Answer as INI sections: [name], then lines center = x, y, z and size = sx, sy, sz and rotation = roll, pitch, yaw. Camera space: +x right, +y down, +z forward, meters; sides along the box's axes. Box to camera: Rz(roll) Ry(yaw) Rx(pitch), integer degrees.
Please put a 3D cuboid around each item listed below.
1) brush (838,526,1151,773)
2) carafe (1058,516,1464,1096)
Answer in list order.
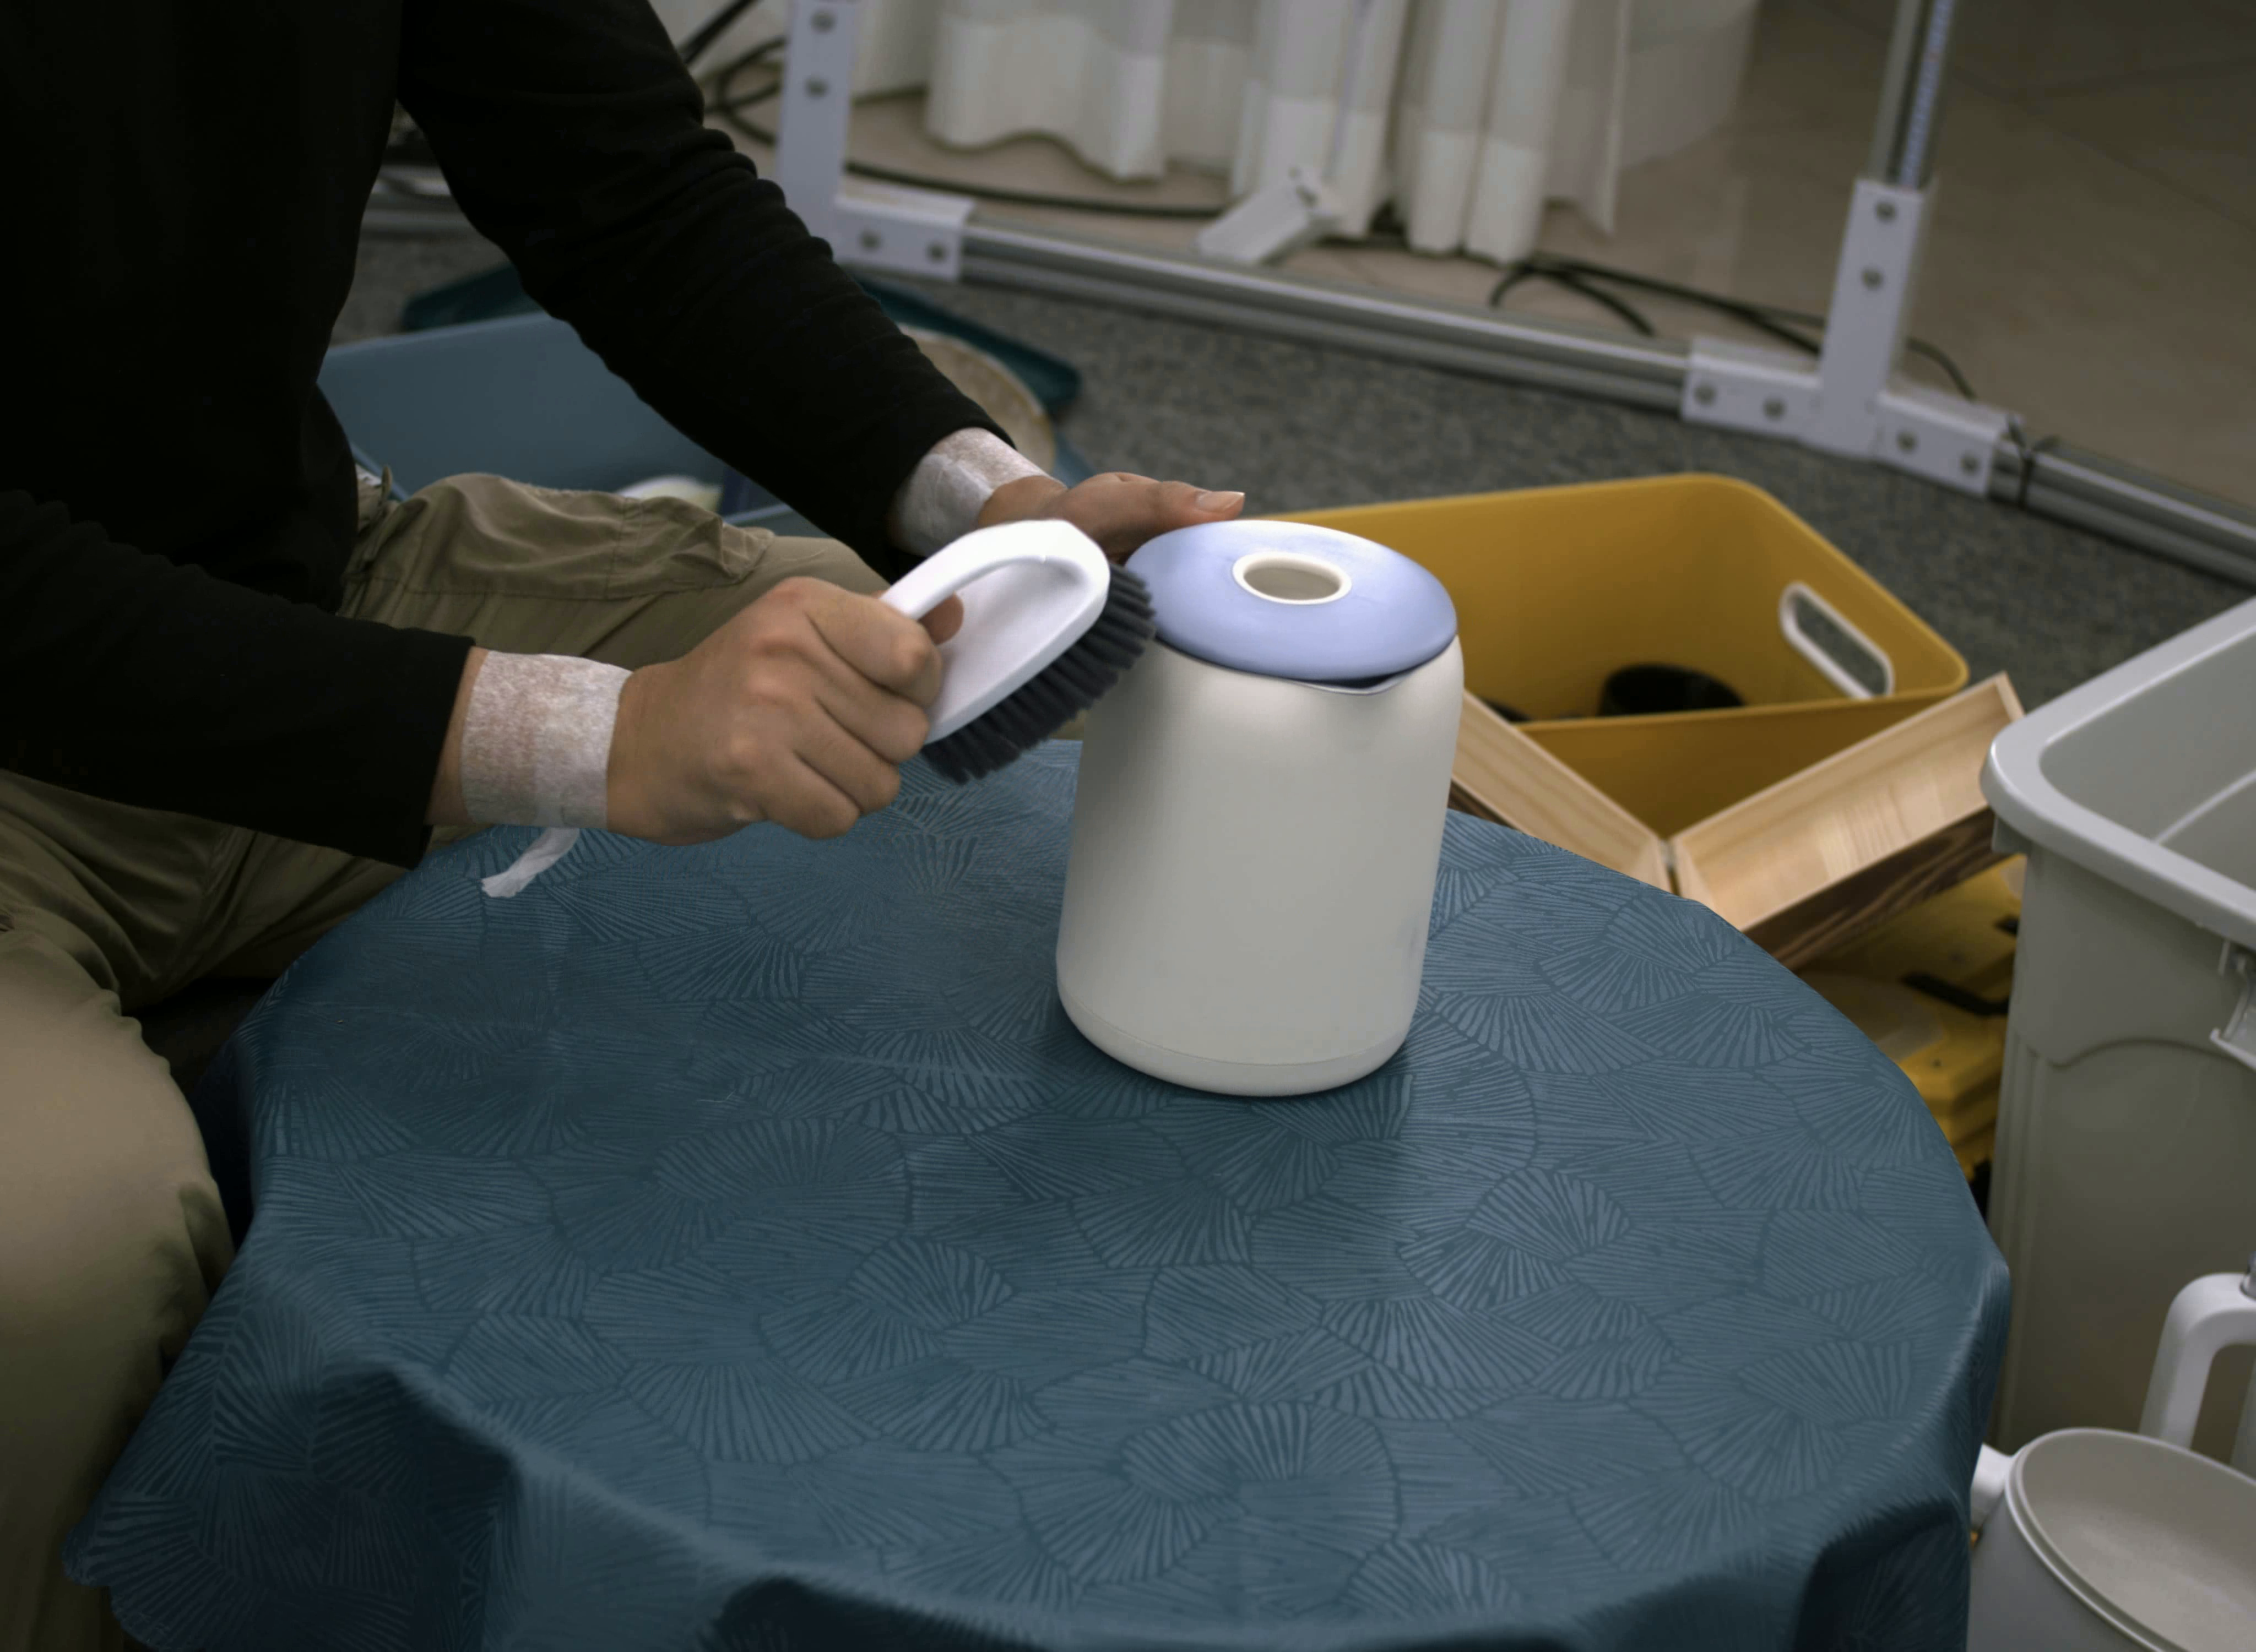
[brush]
center = -0.052, -0.064, 1.776
size = 0.072, 0.099, 0.051
rotation = 35, 31, -46
[carafe]
center = 0.037, -0.019, 1.901
size = 0.131, 0.182, 0.193
rotation = -6, 28, -25
